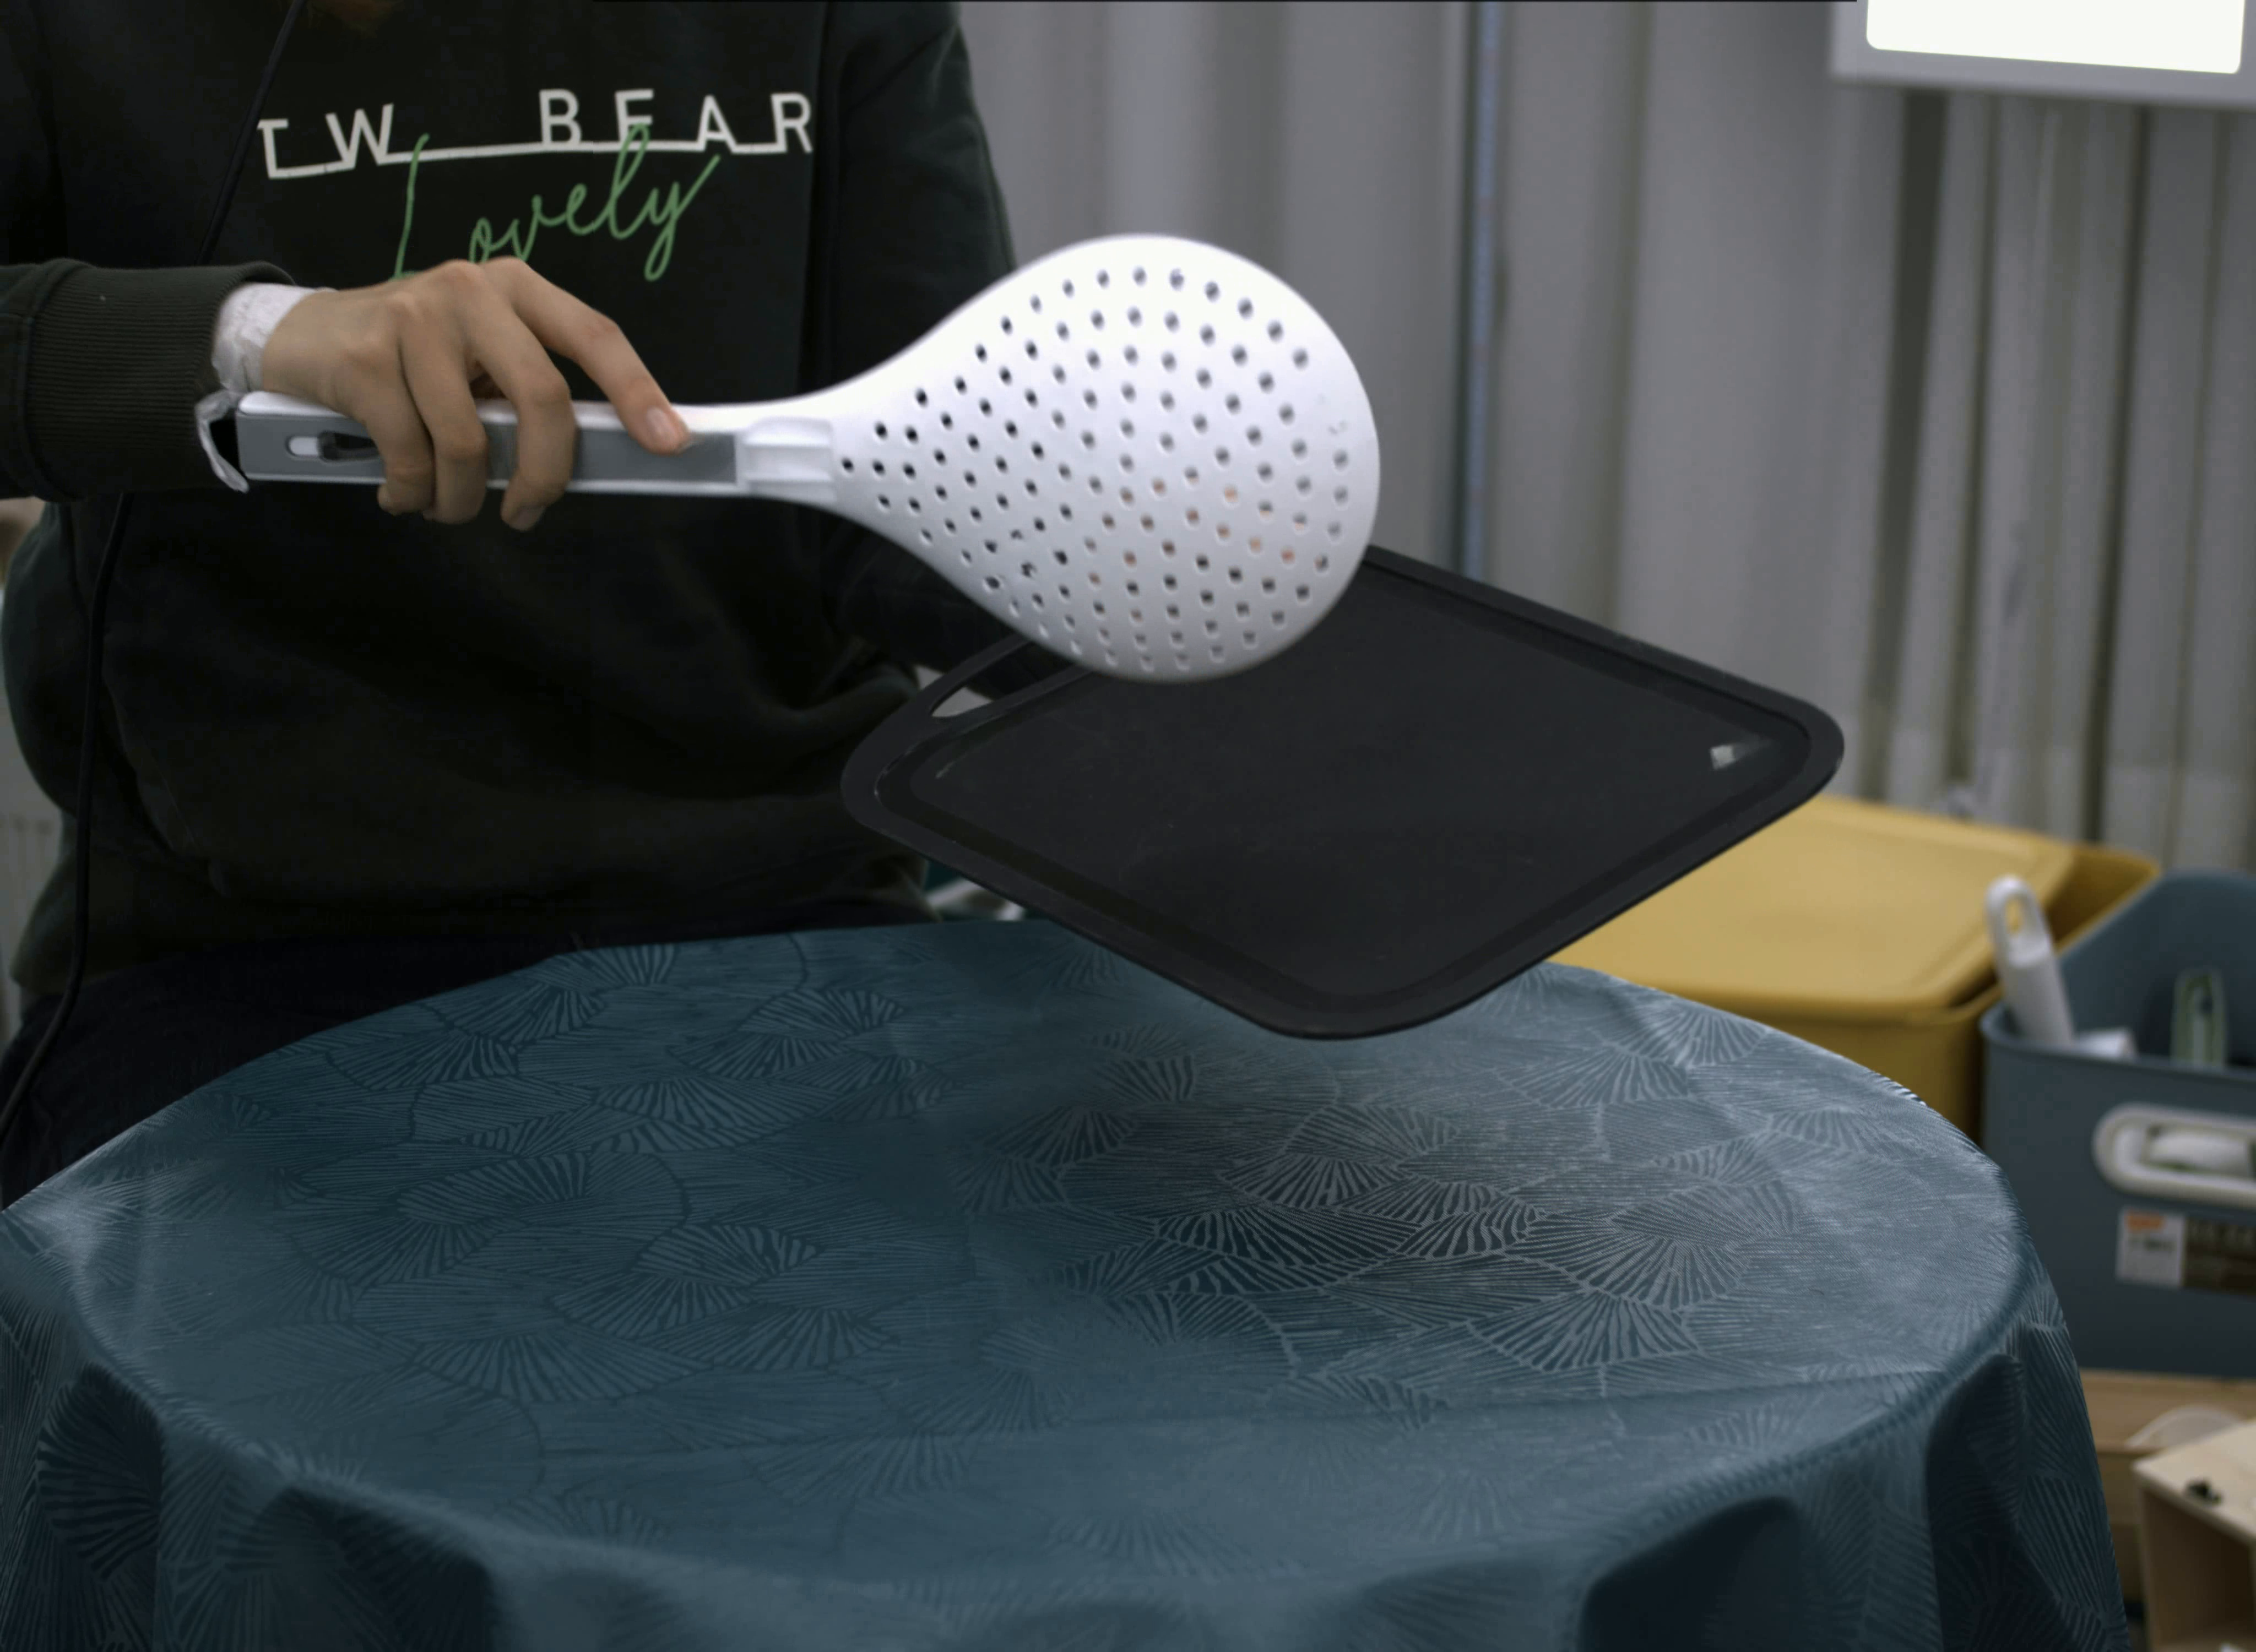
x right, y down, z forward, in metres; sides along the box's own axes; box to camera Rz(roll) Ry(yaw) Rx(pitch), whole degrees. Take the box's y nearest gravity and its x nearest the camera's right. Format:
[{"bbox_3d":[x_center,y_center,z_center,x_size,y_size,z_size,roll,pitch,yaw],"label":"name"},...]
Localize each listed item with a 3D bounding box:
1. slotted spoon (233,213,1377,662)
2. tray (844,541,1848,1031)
[{"bbox_3d":[-0.100,-0.115,1.569,0.347,0.137,0.045,3,20,15],"label":"slotted spoon"},{"bbox_3d":[0.055,-0.021,1.617,0.211,0.010,0.321,-28,30,-25],"label":"tray"}]
